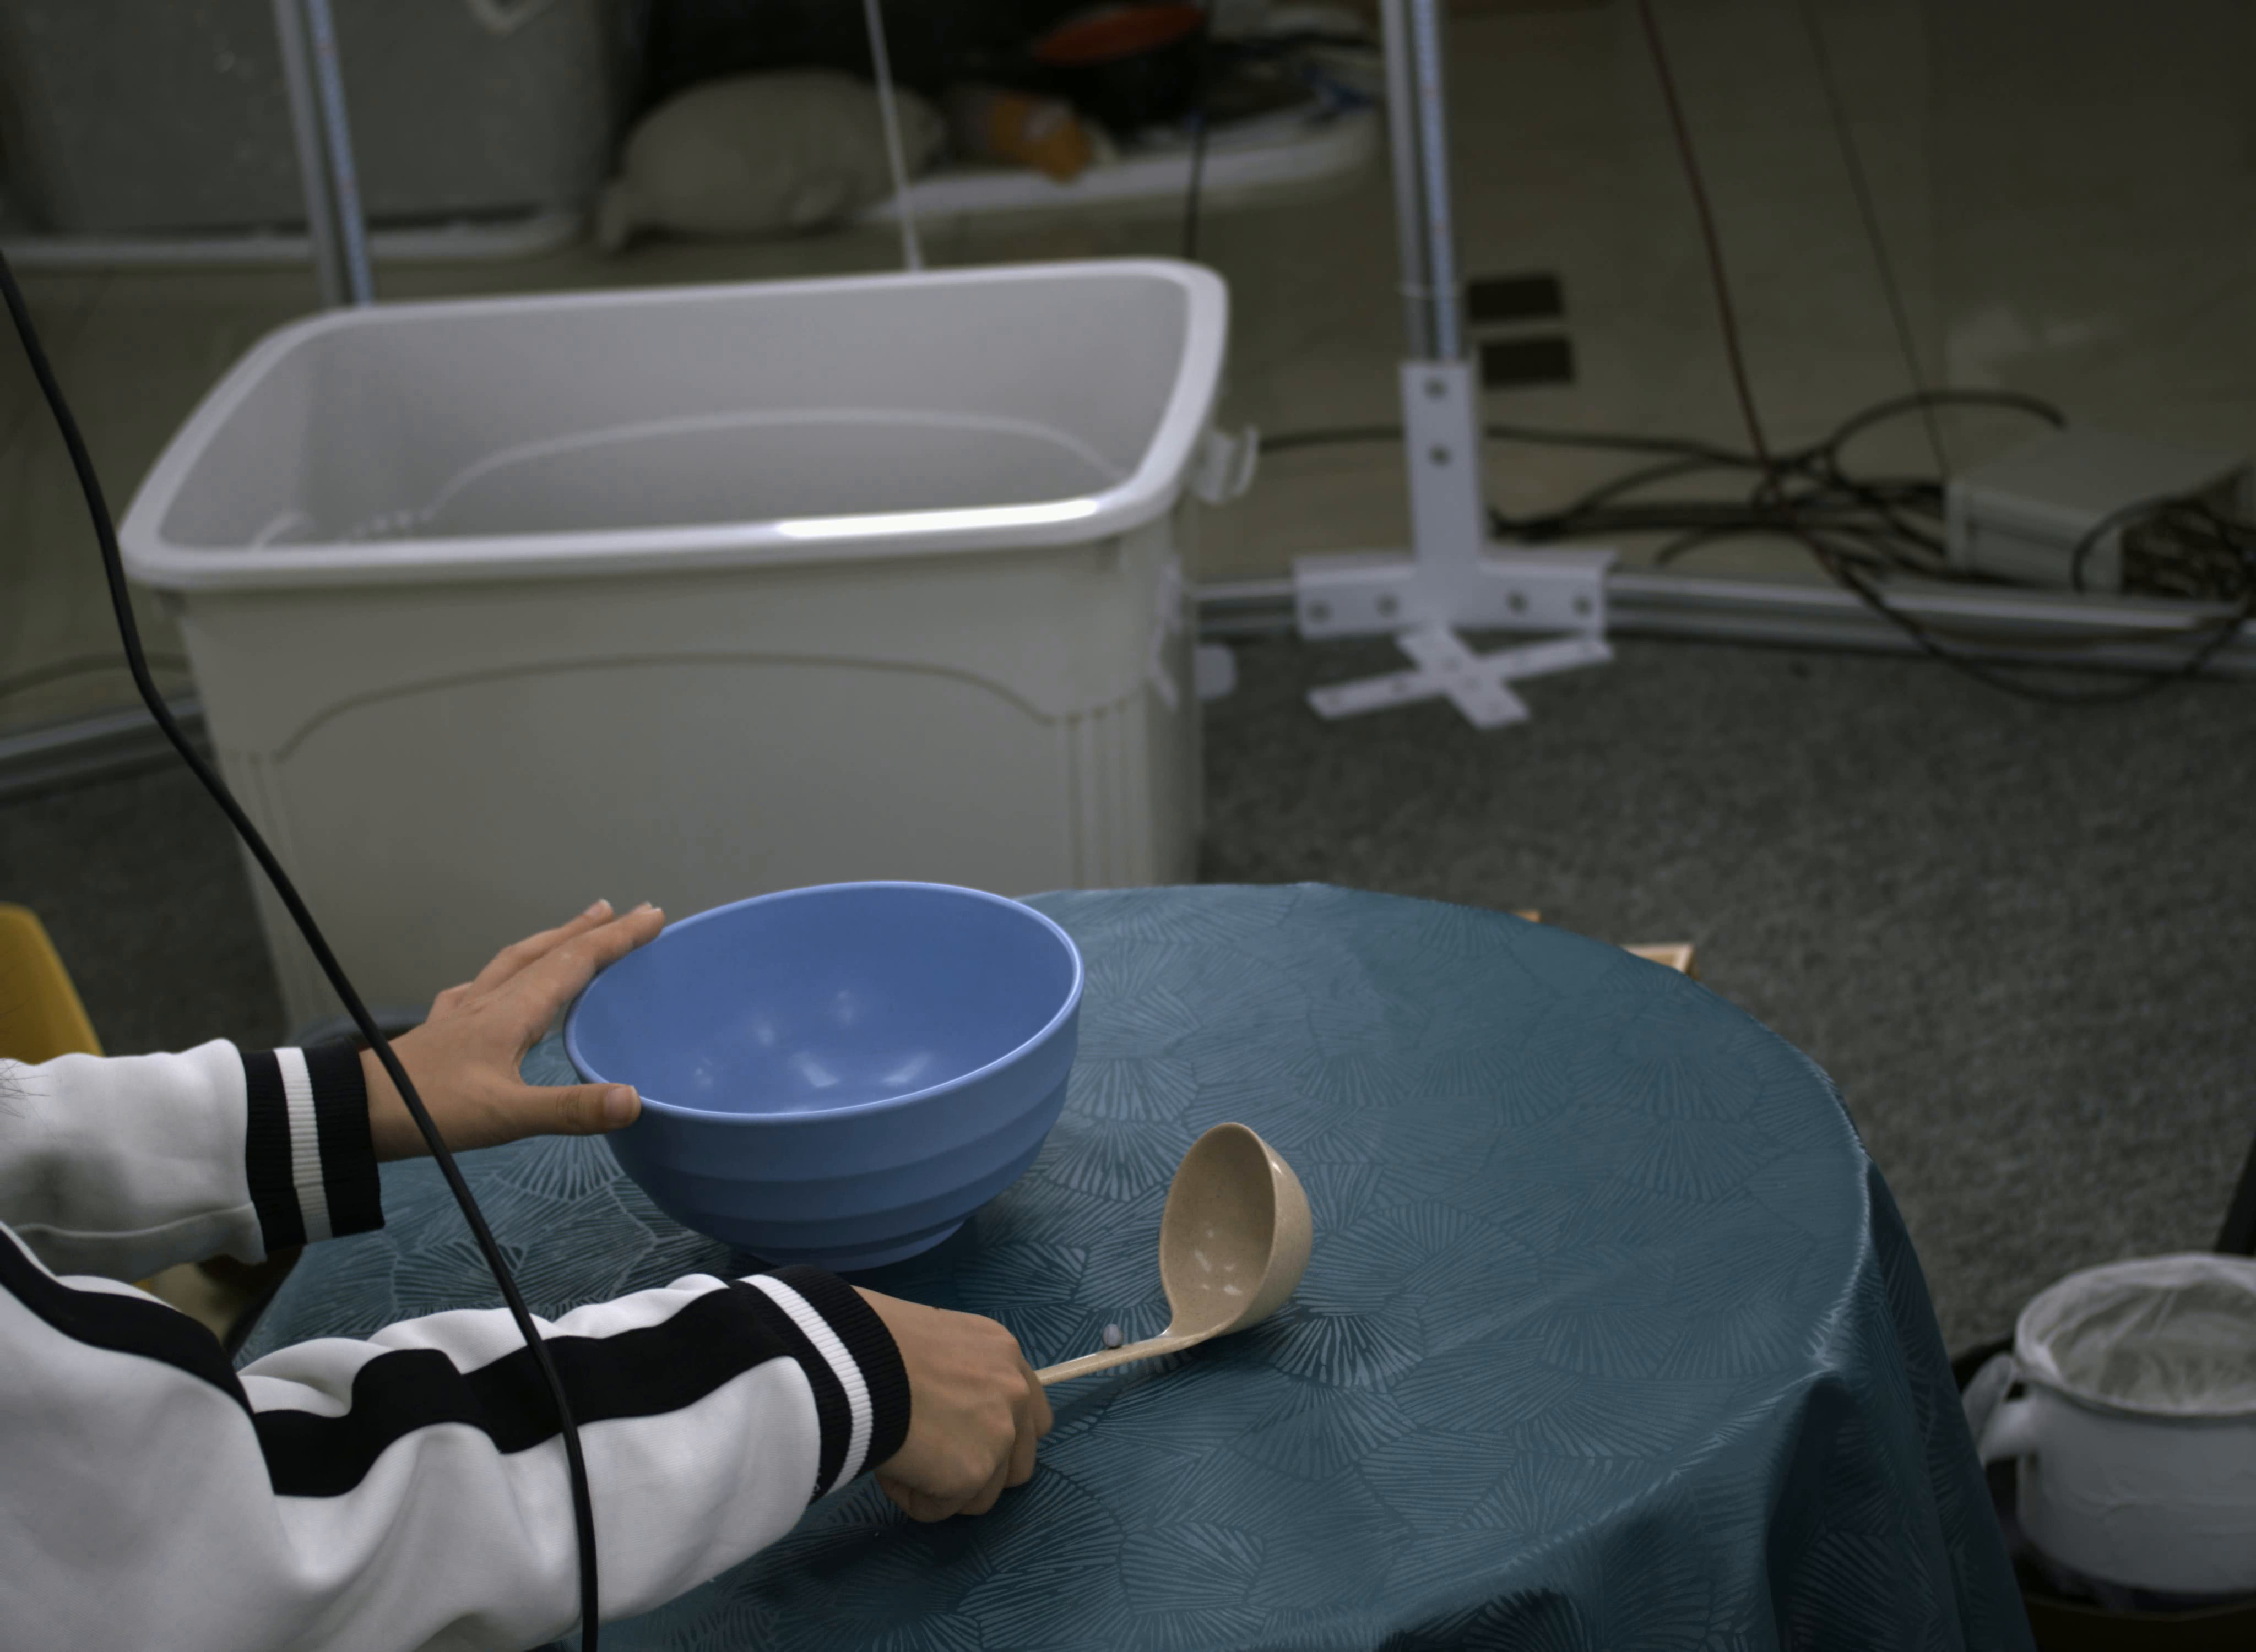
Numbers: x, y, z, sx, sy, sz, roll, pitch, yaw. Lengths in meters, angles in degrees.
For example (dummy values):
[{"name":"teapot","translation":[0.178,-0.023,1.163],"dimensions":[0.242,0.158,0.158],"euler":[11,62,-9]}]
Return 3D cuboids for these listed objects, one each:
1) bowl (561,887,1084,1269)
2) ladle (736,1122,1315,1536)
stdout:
[{"name":"bowl","translation":[-0.111,0.104,2.133],"dimensions":[0.196,0.097,0.194],"euler":[-4,23,2]},{"name":"ladle","translation":[-0.042,0.171,1.983],"dimensions":[0.253,0.073,0.072],"euler":[-19,11,-36]}]
